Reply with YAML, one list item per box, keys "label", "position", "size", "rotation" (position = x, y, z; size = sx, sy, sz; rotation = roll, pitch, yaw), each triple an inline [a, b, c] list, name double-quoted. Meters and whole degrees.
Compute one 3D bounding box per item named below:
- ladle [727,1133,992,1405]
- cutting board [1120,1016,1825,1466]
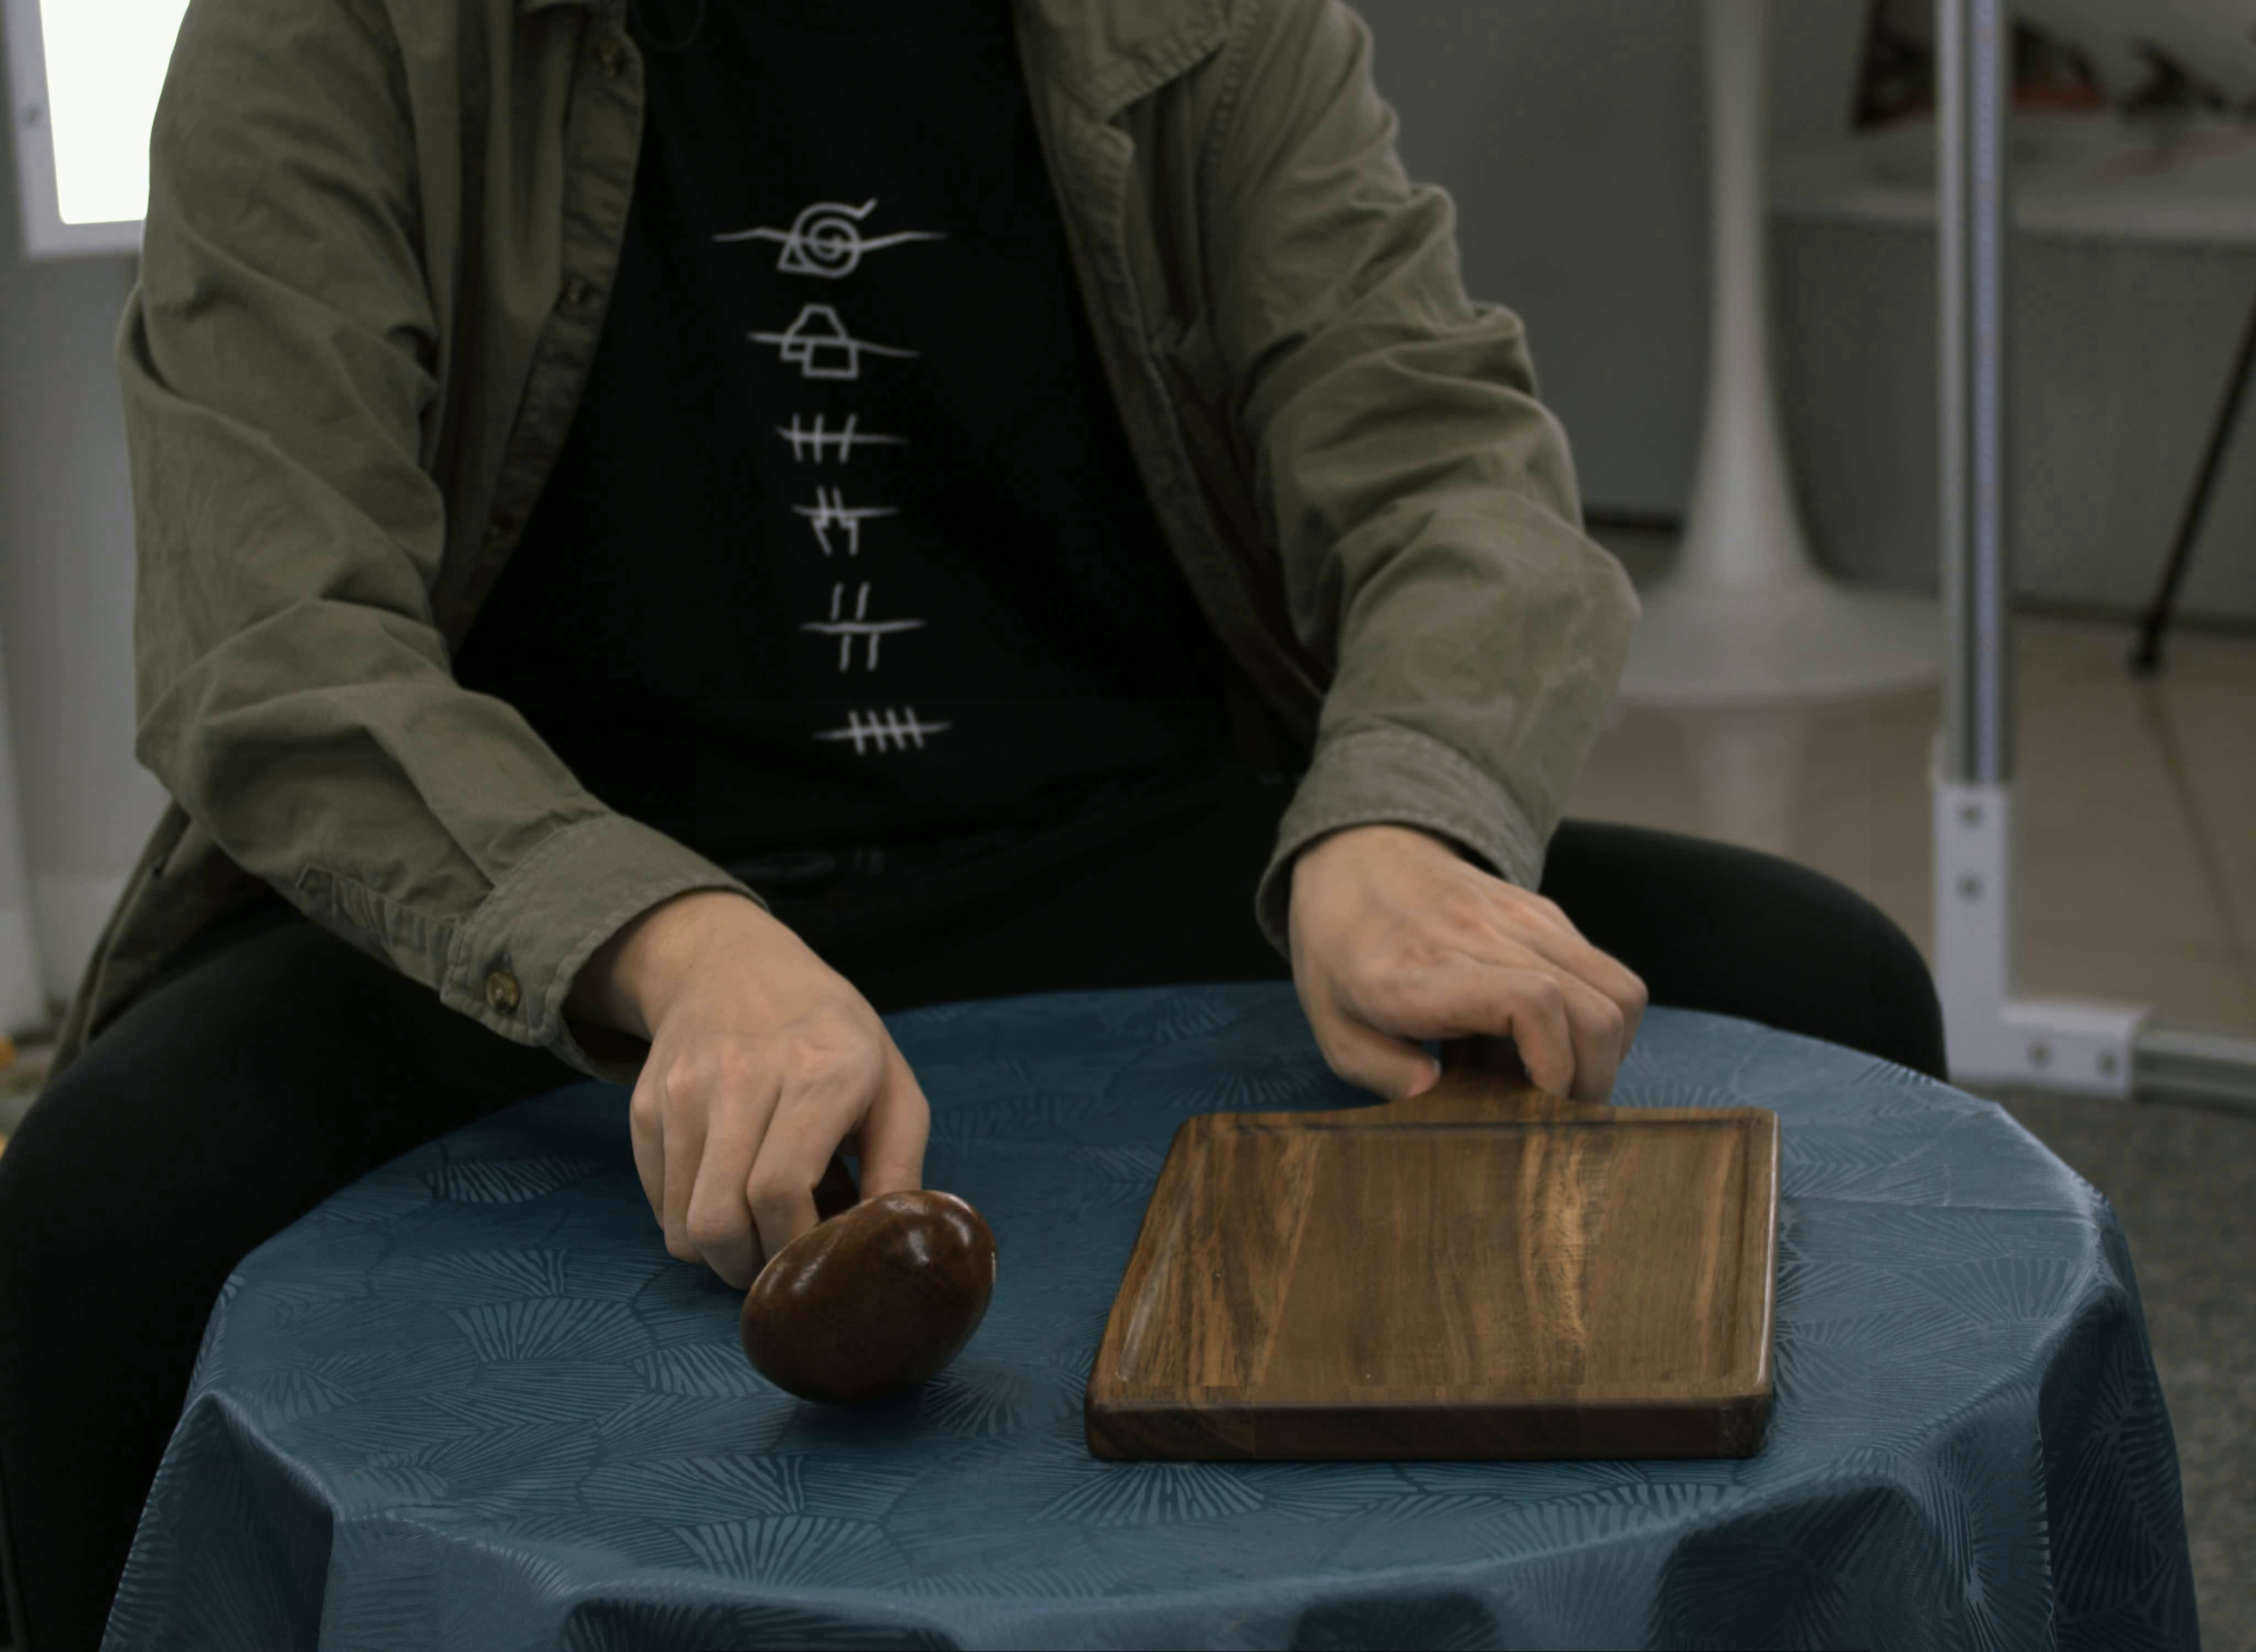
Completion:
- label: "ladle"
  position: [-0.094, 0.114, 1.670]
  size: [0.081, 0.077, 0.275]
  rotation: [-24, 16, -4]
- label: "cutting board"
  position: [0.117, 0.122, 1.667]
  size: [0.199, 0.023, 0.351]
  rotation: [-1, 16, 10]
